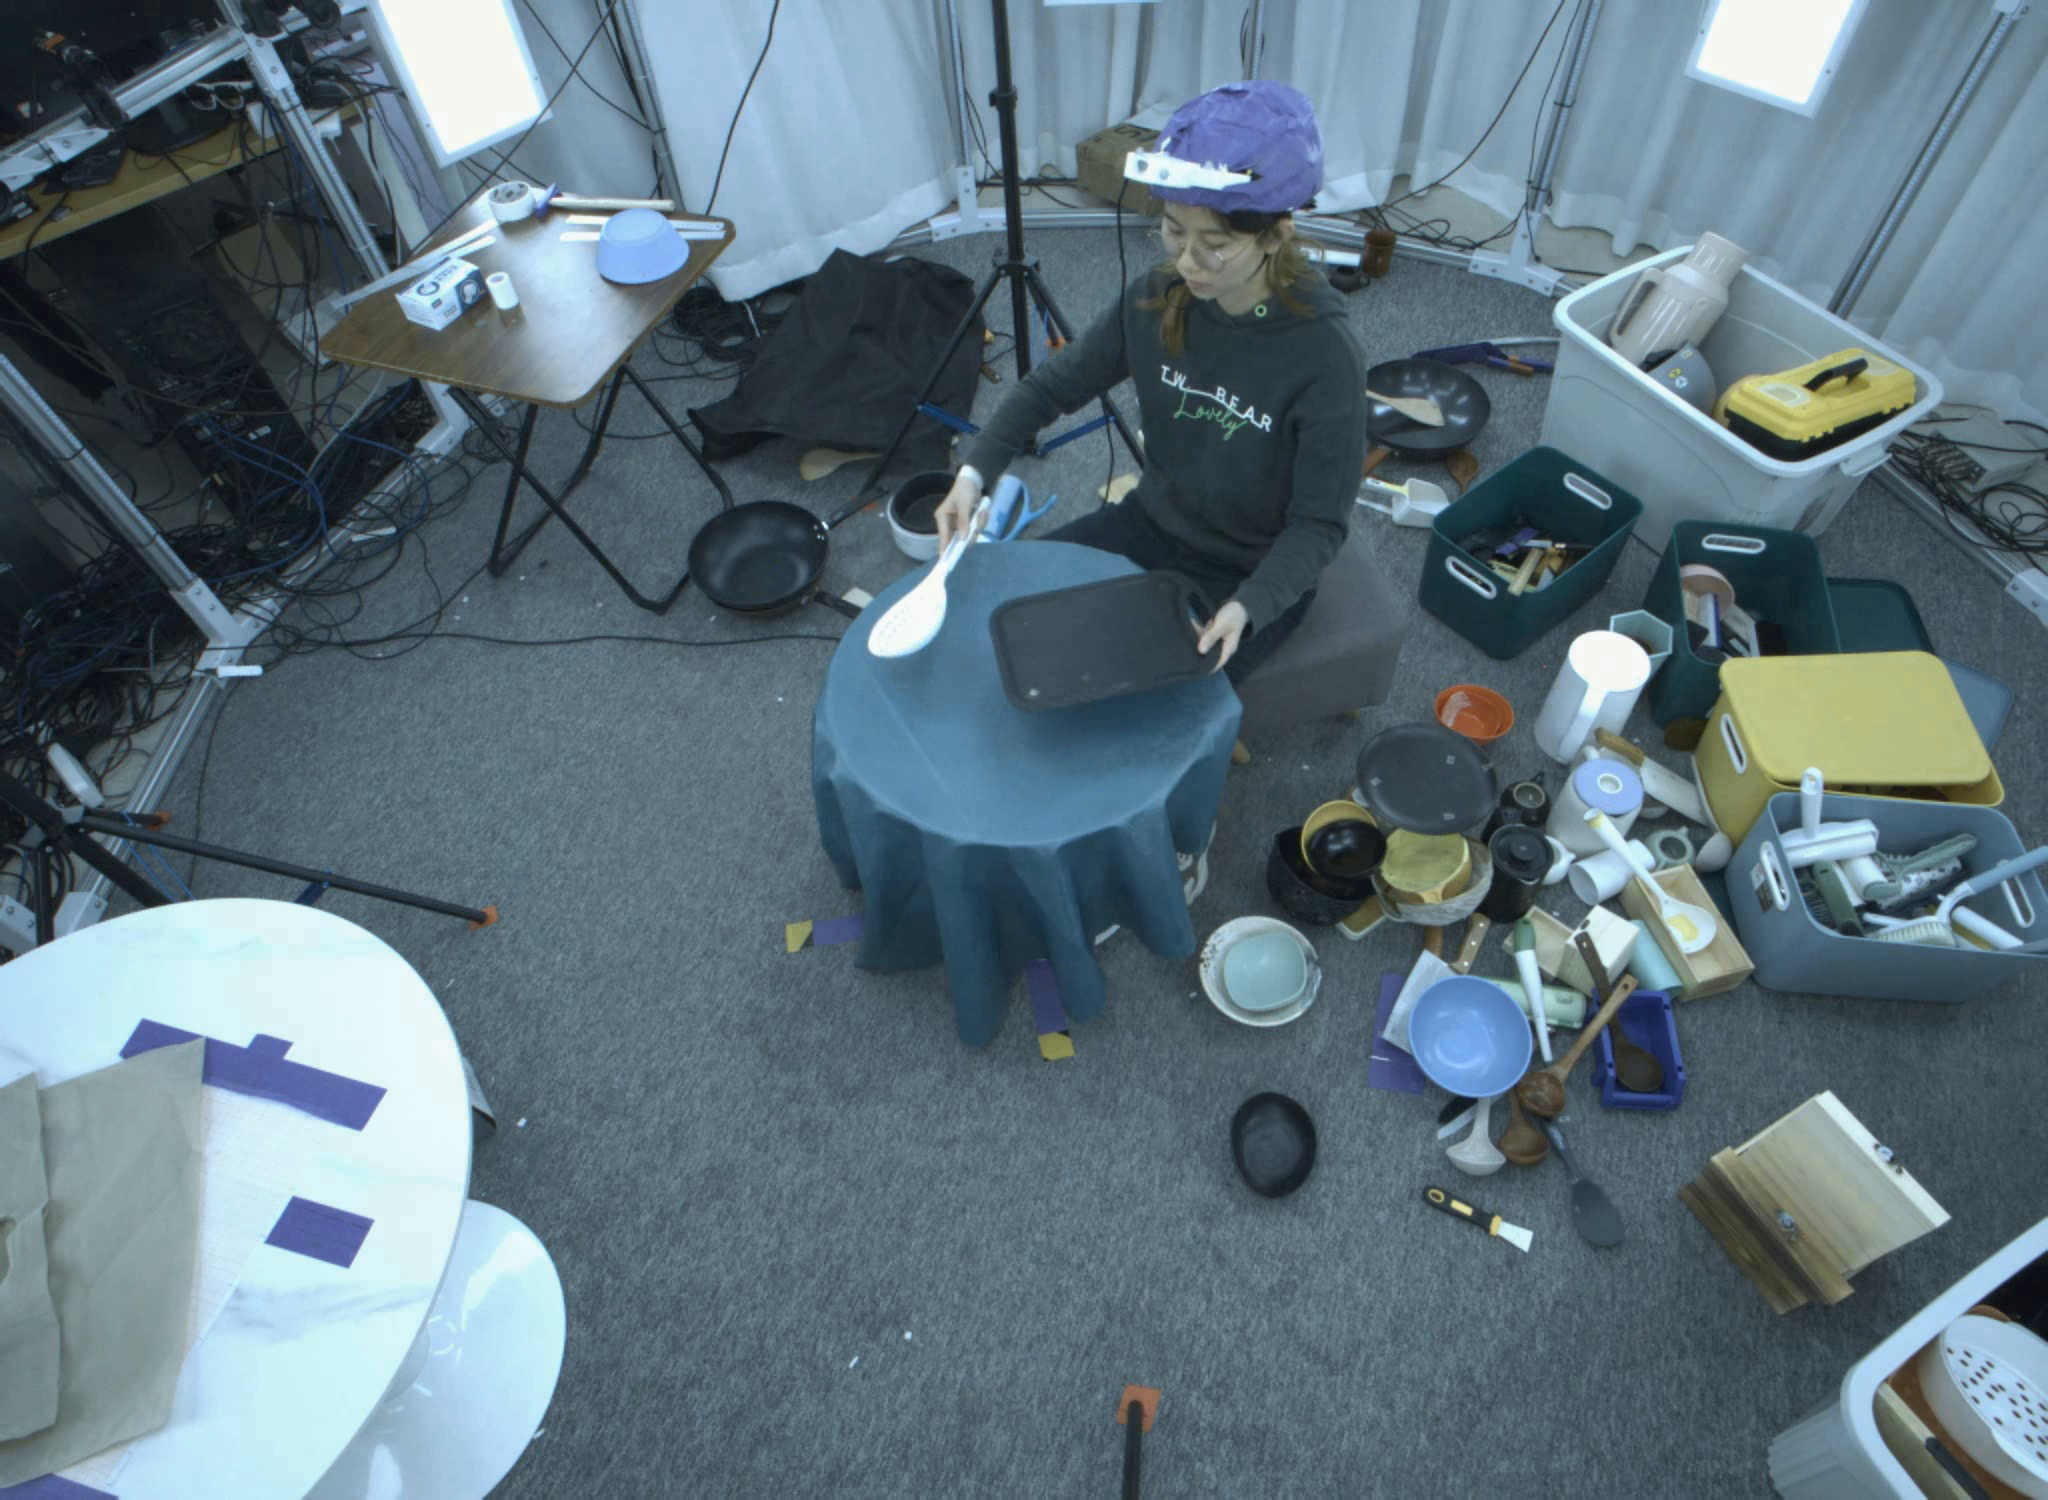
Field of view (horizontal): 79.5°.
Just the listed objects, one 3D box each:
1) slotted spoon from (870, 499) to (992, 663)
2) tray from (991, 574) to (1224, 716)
[{"bbox_3d":[-0.127,-0.260,1.861,0.133,0.047,0.349,-2,55,37],"label":"slotted spoon"},{"bbox_3d":[0.122,-0.157,1.759,0.326,0.010,0.208,-11,58,-4],"label":"tray"}]
